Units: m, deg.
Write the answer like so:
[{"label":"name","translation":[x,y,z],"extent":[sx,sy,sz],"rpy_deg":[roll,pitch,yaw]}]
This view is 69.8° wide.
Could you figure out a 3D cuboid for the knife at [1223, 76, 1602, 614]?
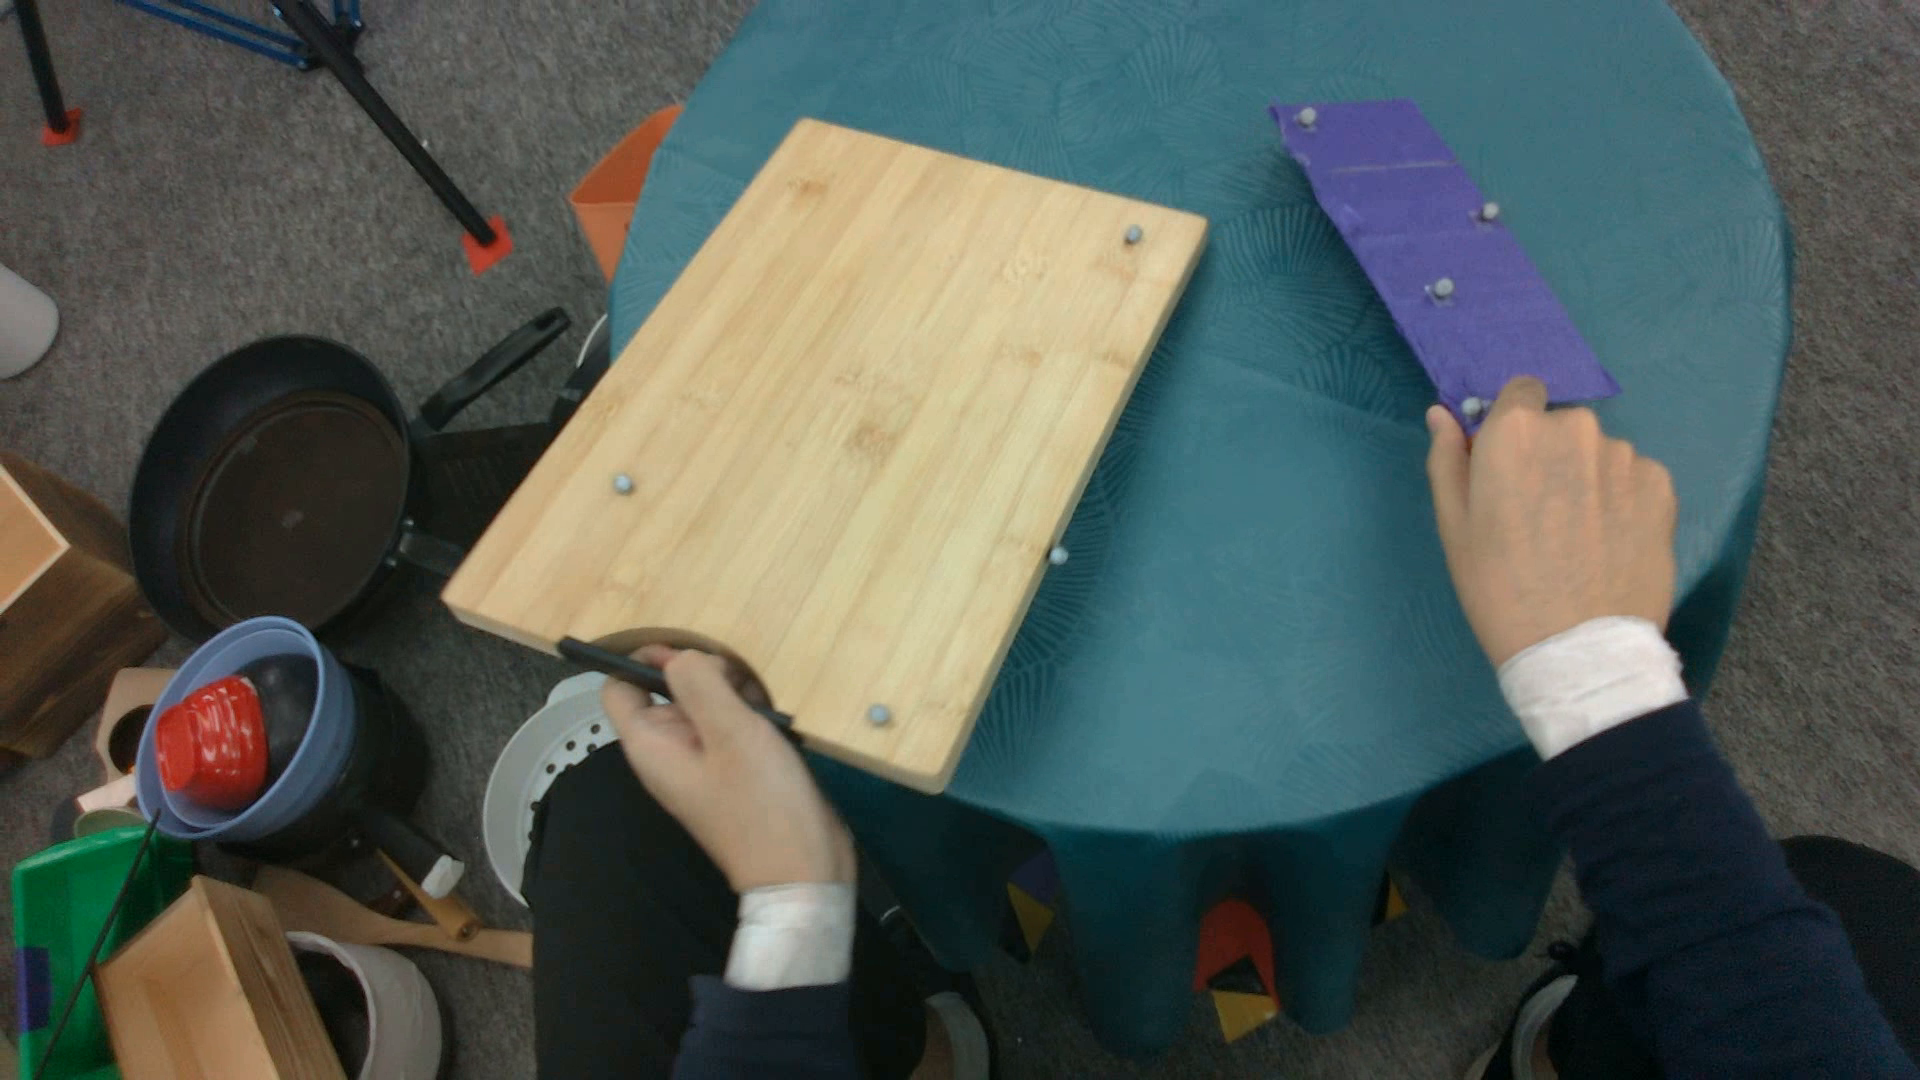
[{"label":"knife","translation":[0.225,-0.110,0.631],"extent":[0.104,0.032,0.316],"rpy_deg":[-8,59,-18]}]

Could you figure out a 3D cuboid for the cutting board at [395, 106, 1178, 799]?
[{"label":"cutting board","translation":[-0.066,-0.069,0.659],"extent":[0.250,0.023,0.350],"rpy_deg":[17,59,16]}]
